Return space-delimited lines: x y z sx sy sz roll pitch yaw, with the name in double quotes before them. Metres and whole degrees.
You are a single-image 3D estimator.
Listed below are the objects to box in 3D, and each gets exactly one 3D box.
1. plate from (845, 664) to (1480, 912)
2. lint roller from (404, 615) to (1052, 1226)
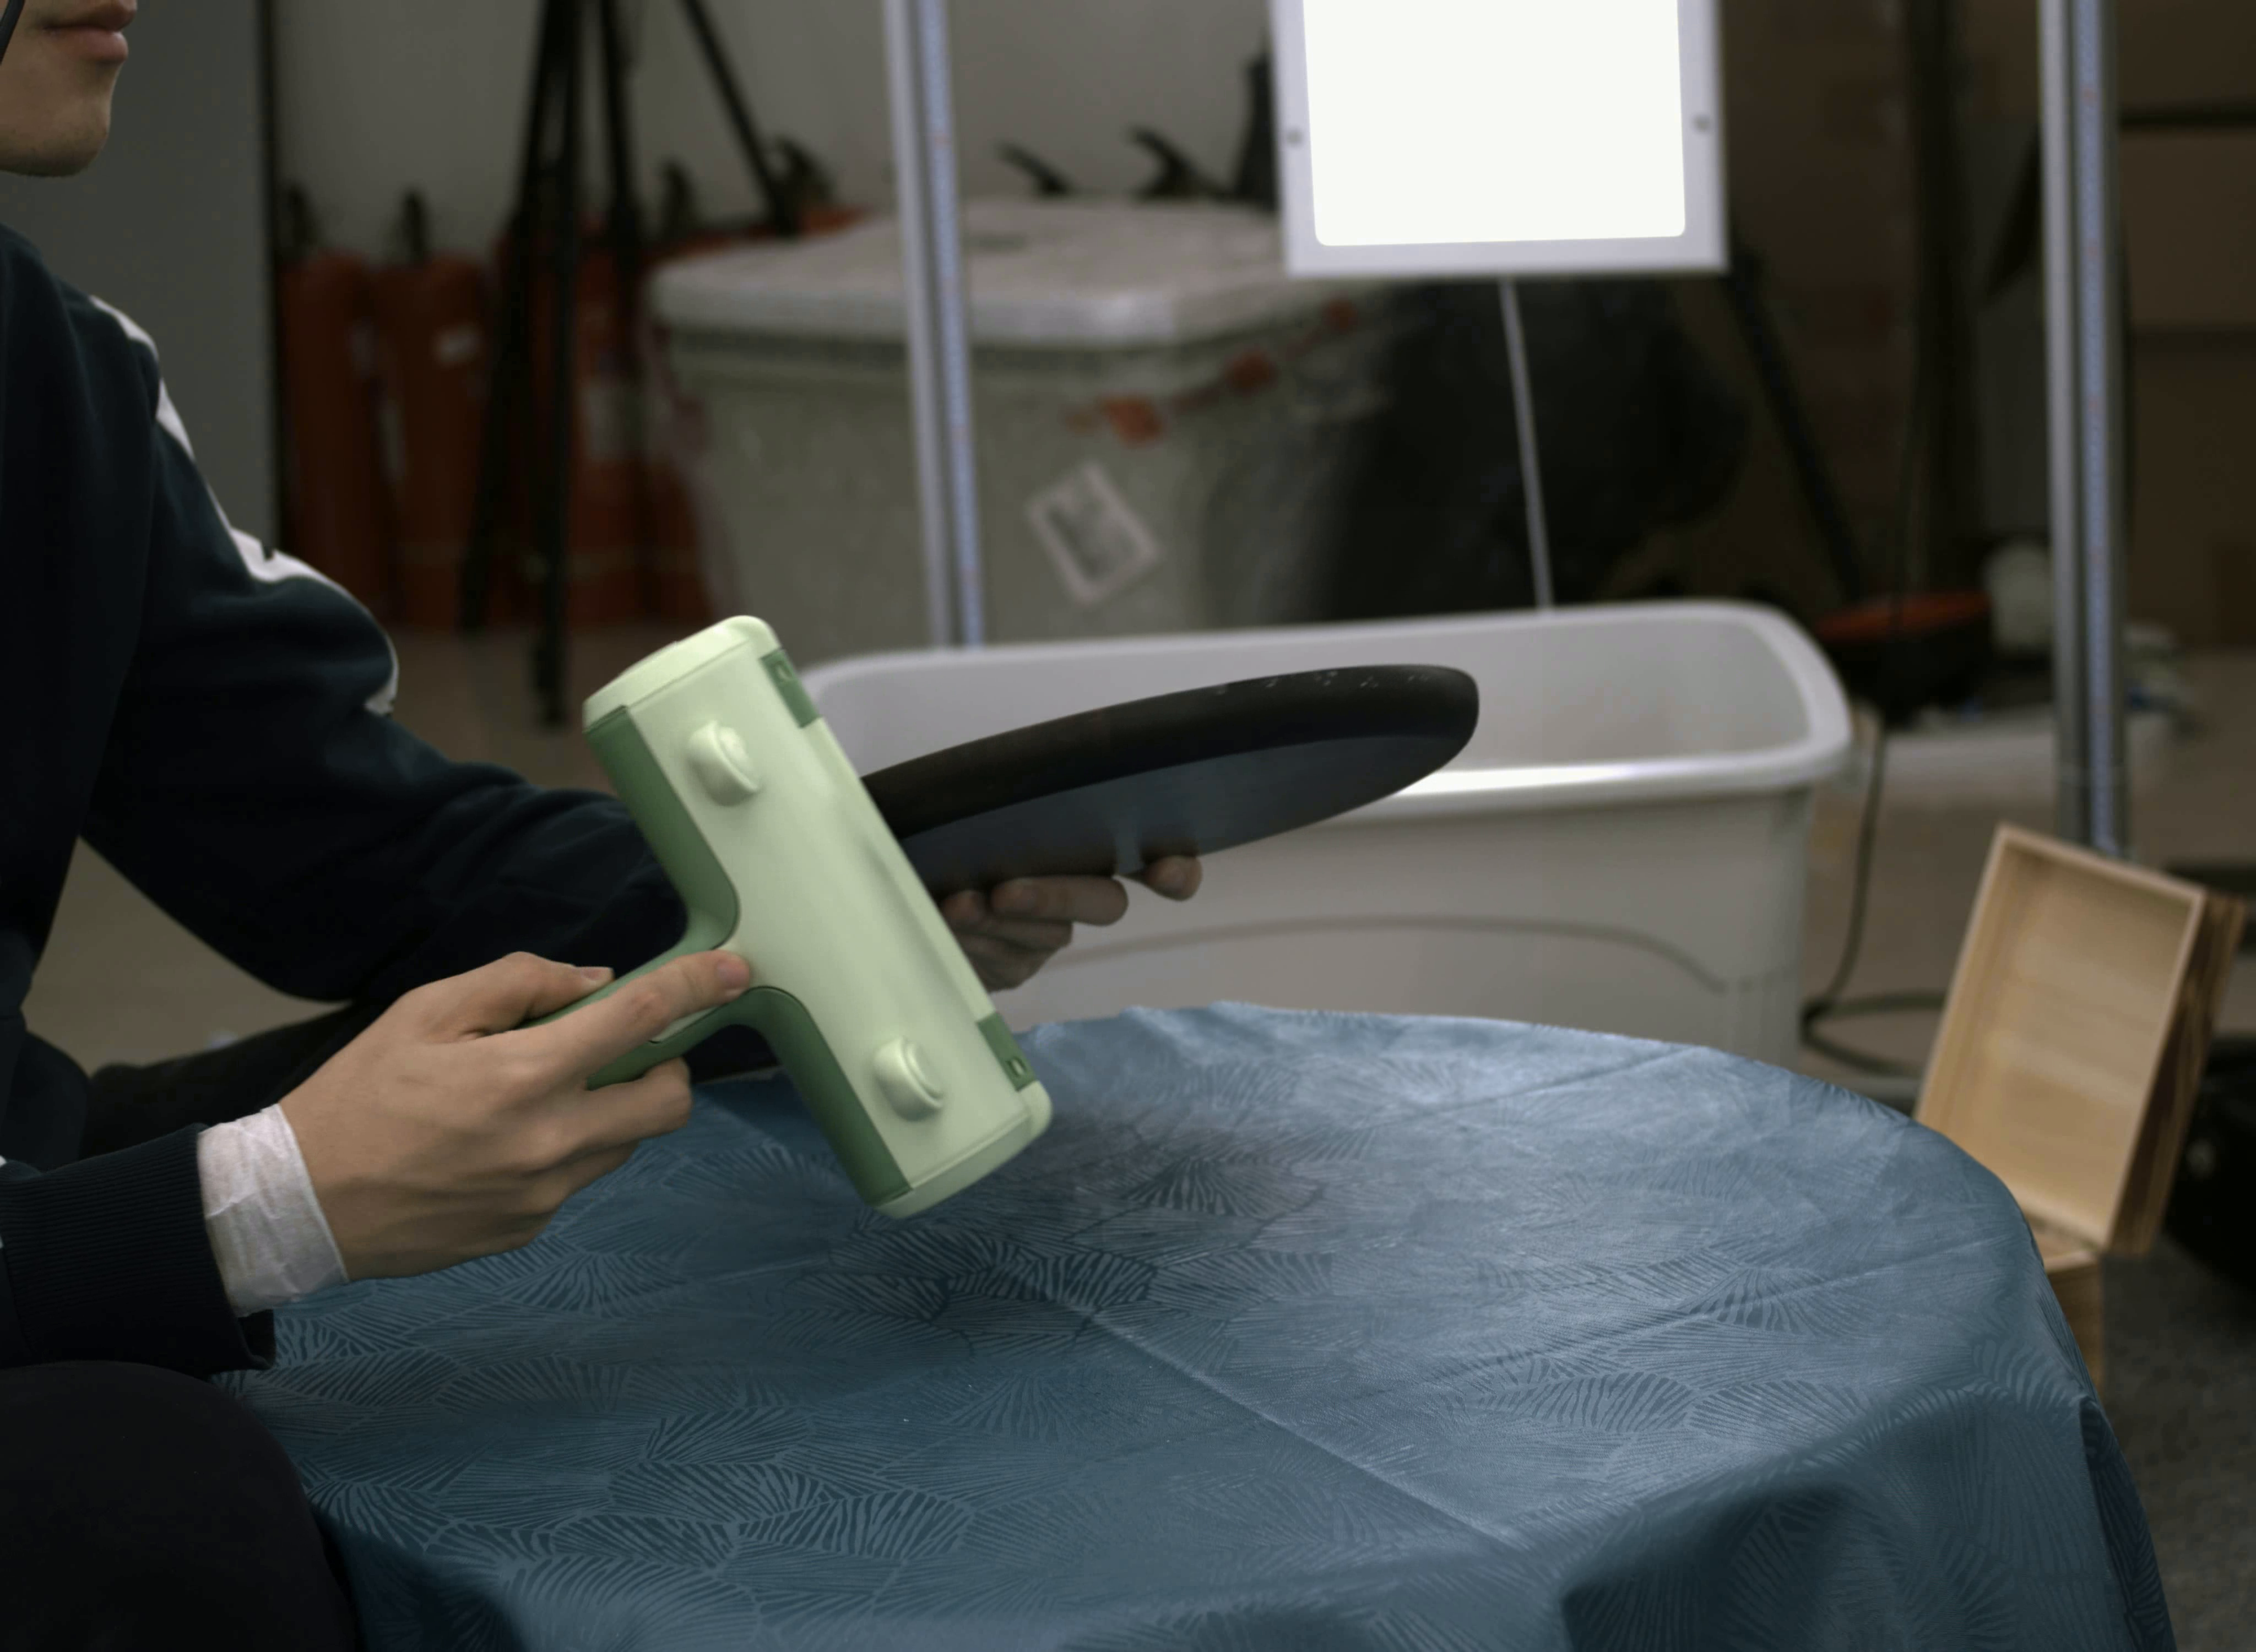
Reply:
"plate" -0.004 -0.010 1.851 0.253 0.029 0.255 -12 -7 -3
"lint roller" -0.142 0.057 1.729 0.180 0.199 0.083 -31 3 -20
